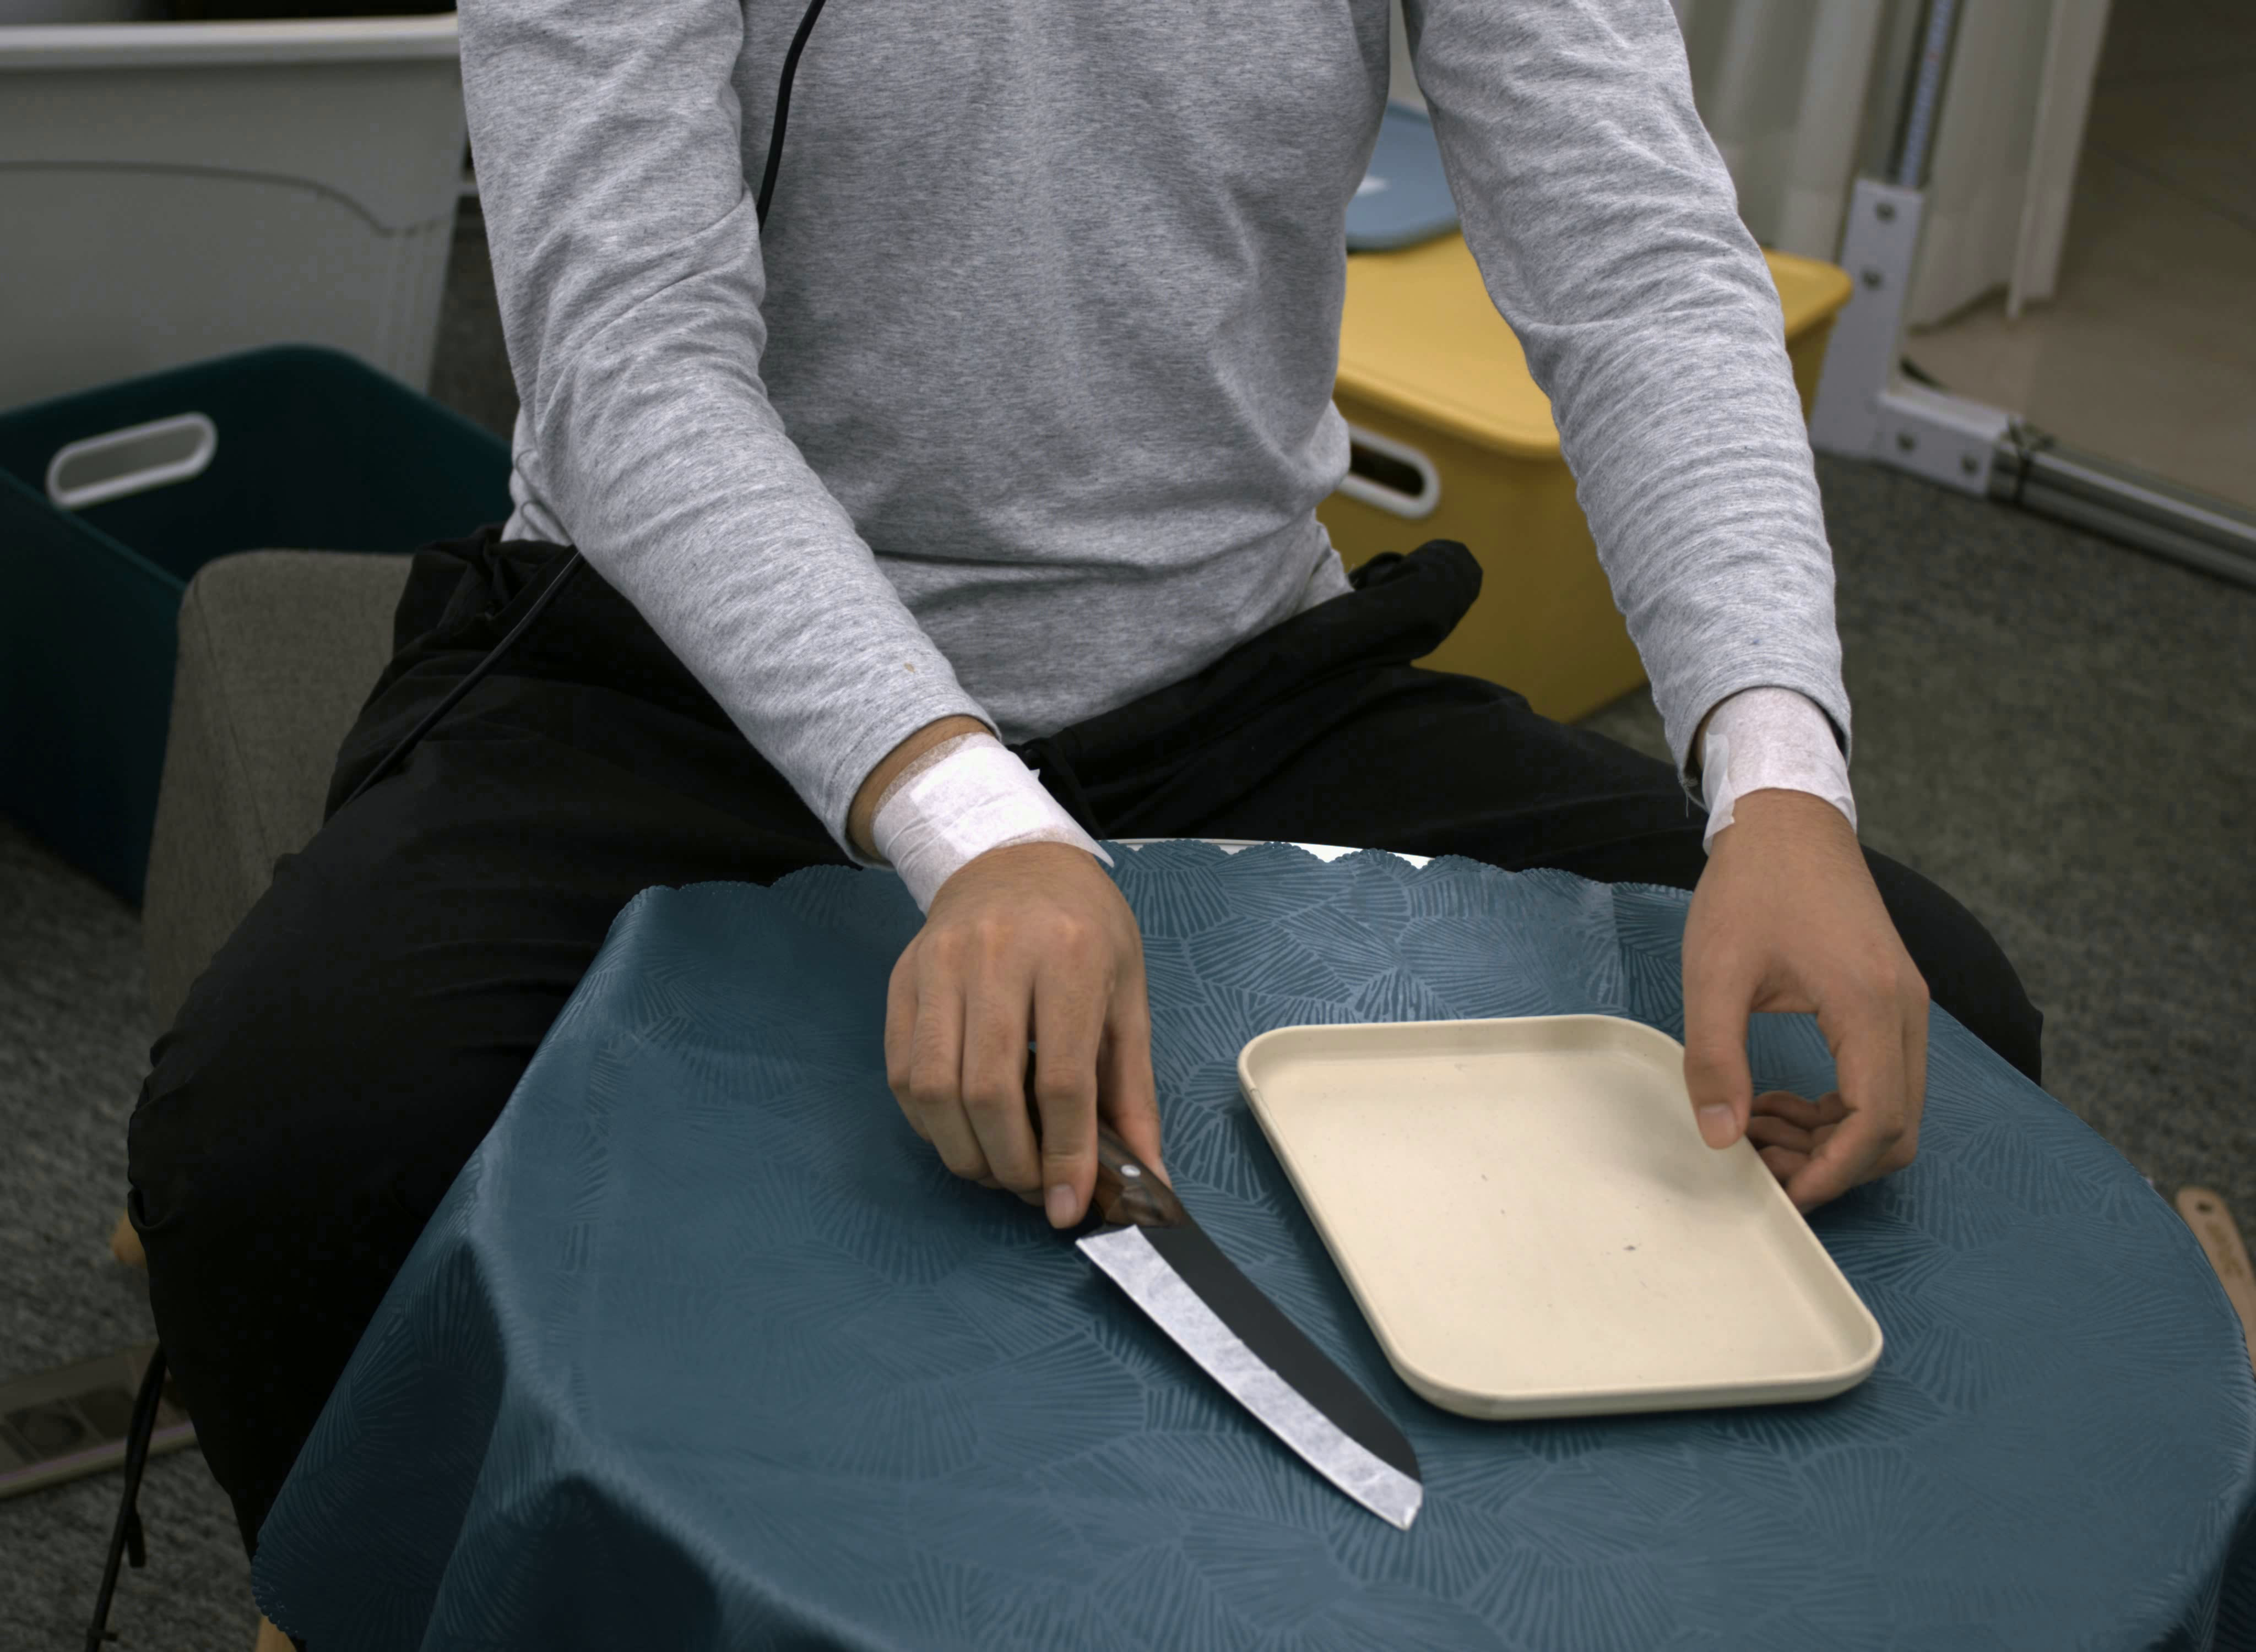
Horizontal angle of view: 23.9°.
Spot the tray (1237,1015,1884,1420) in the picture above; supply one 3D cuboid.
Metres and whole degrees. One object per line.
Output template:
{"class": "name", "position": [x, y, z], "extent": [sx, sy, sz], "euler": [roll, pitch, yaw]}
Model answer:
{"class": "tray", "position": [0.142, 0.131, 1.804], "extent": [0.170, 0.017, 0.242], "euler": [-1, 27, -15]}

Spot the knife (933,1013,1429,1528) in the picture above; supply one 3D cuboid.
{"class": "knife", "position": [0.014, 0.144, 1.743], "extent": [0.050, 0.020, 0.292], "euler": [-10, 35, -31]}
